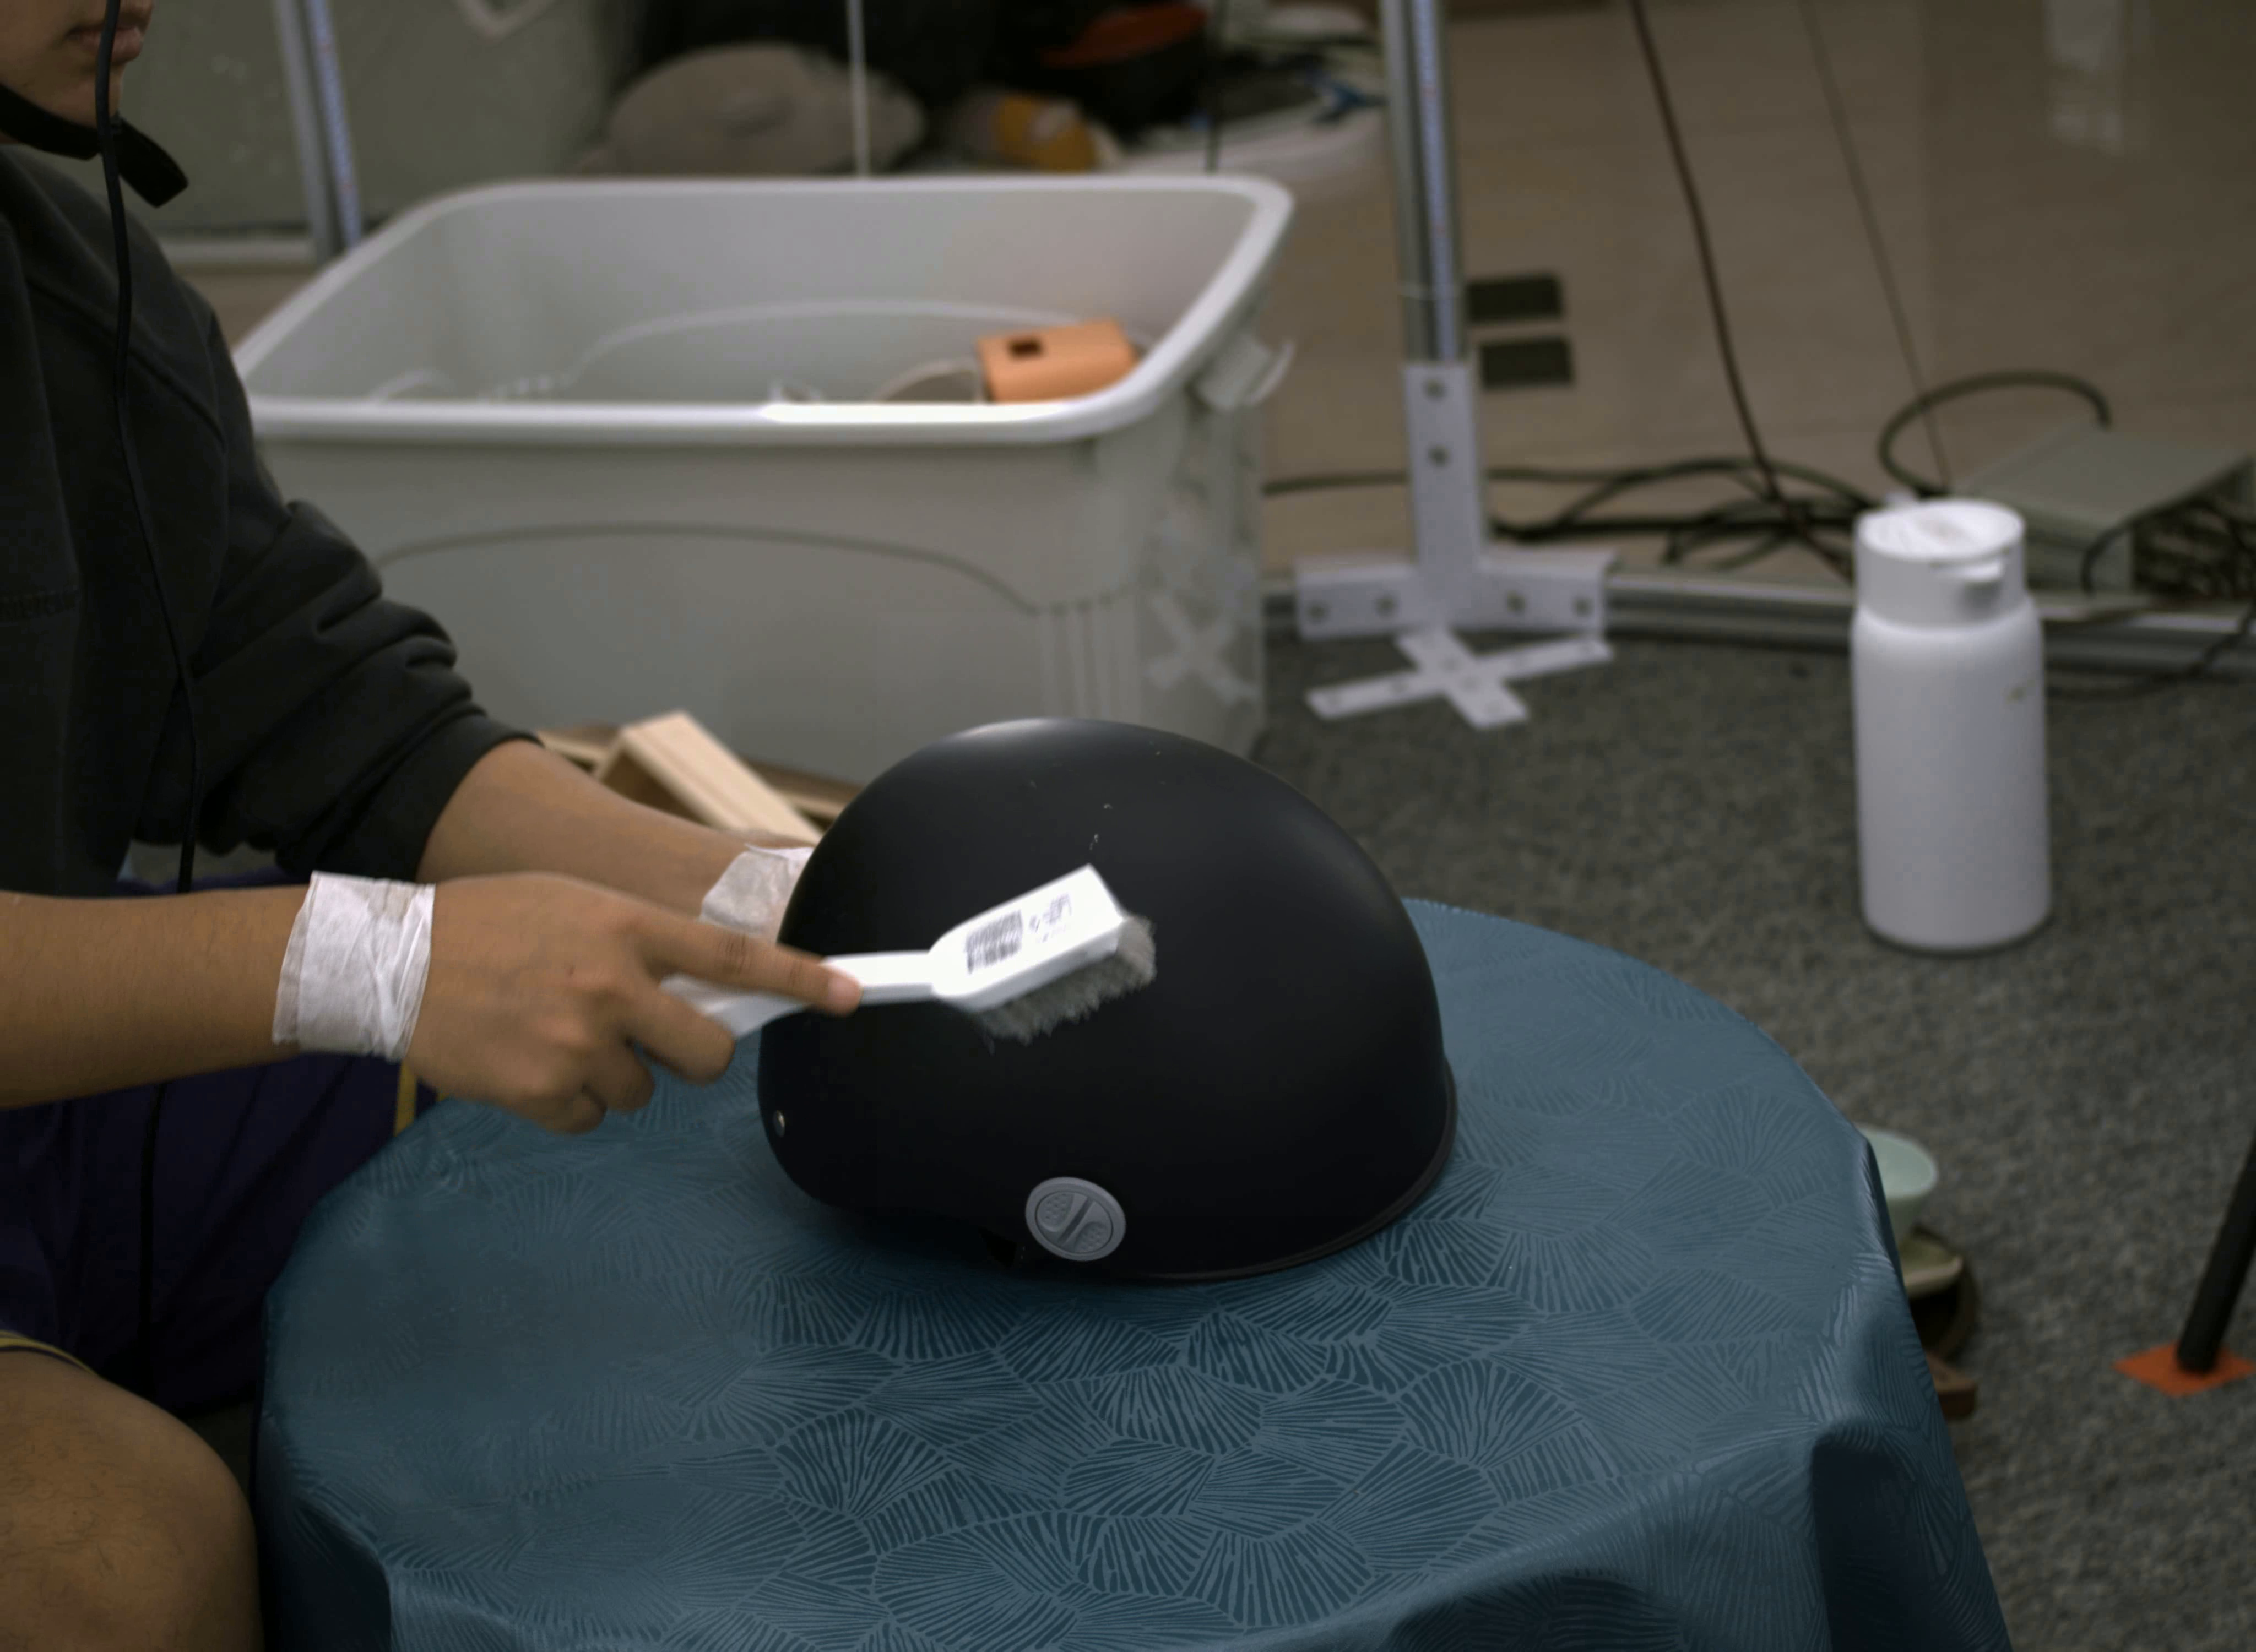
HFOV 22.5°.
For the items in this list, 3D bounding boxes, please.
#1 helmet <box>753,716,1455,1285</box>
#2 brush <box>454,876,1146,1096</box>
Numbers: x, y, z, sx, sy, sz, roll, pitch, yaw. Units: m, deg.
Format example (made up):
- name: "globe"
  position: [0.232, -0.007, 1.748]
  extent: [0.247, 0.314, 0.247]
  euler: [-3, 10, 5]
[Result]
- name: "helmet"
  position: [-0.015, 0.050, 2.131]
  extent: [0.272, 0.170, 0.227]
  euler: [12, 40, 25]
- name: "brush"
  position: [-0.114, 0.069, 1.987]
  extent: [0.243, 0.051, 0.034]
  euler: [-14, 50, 2]
